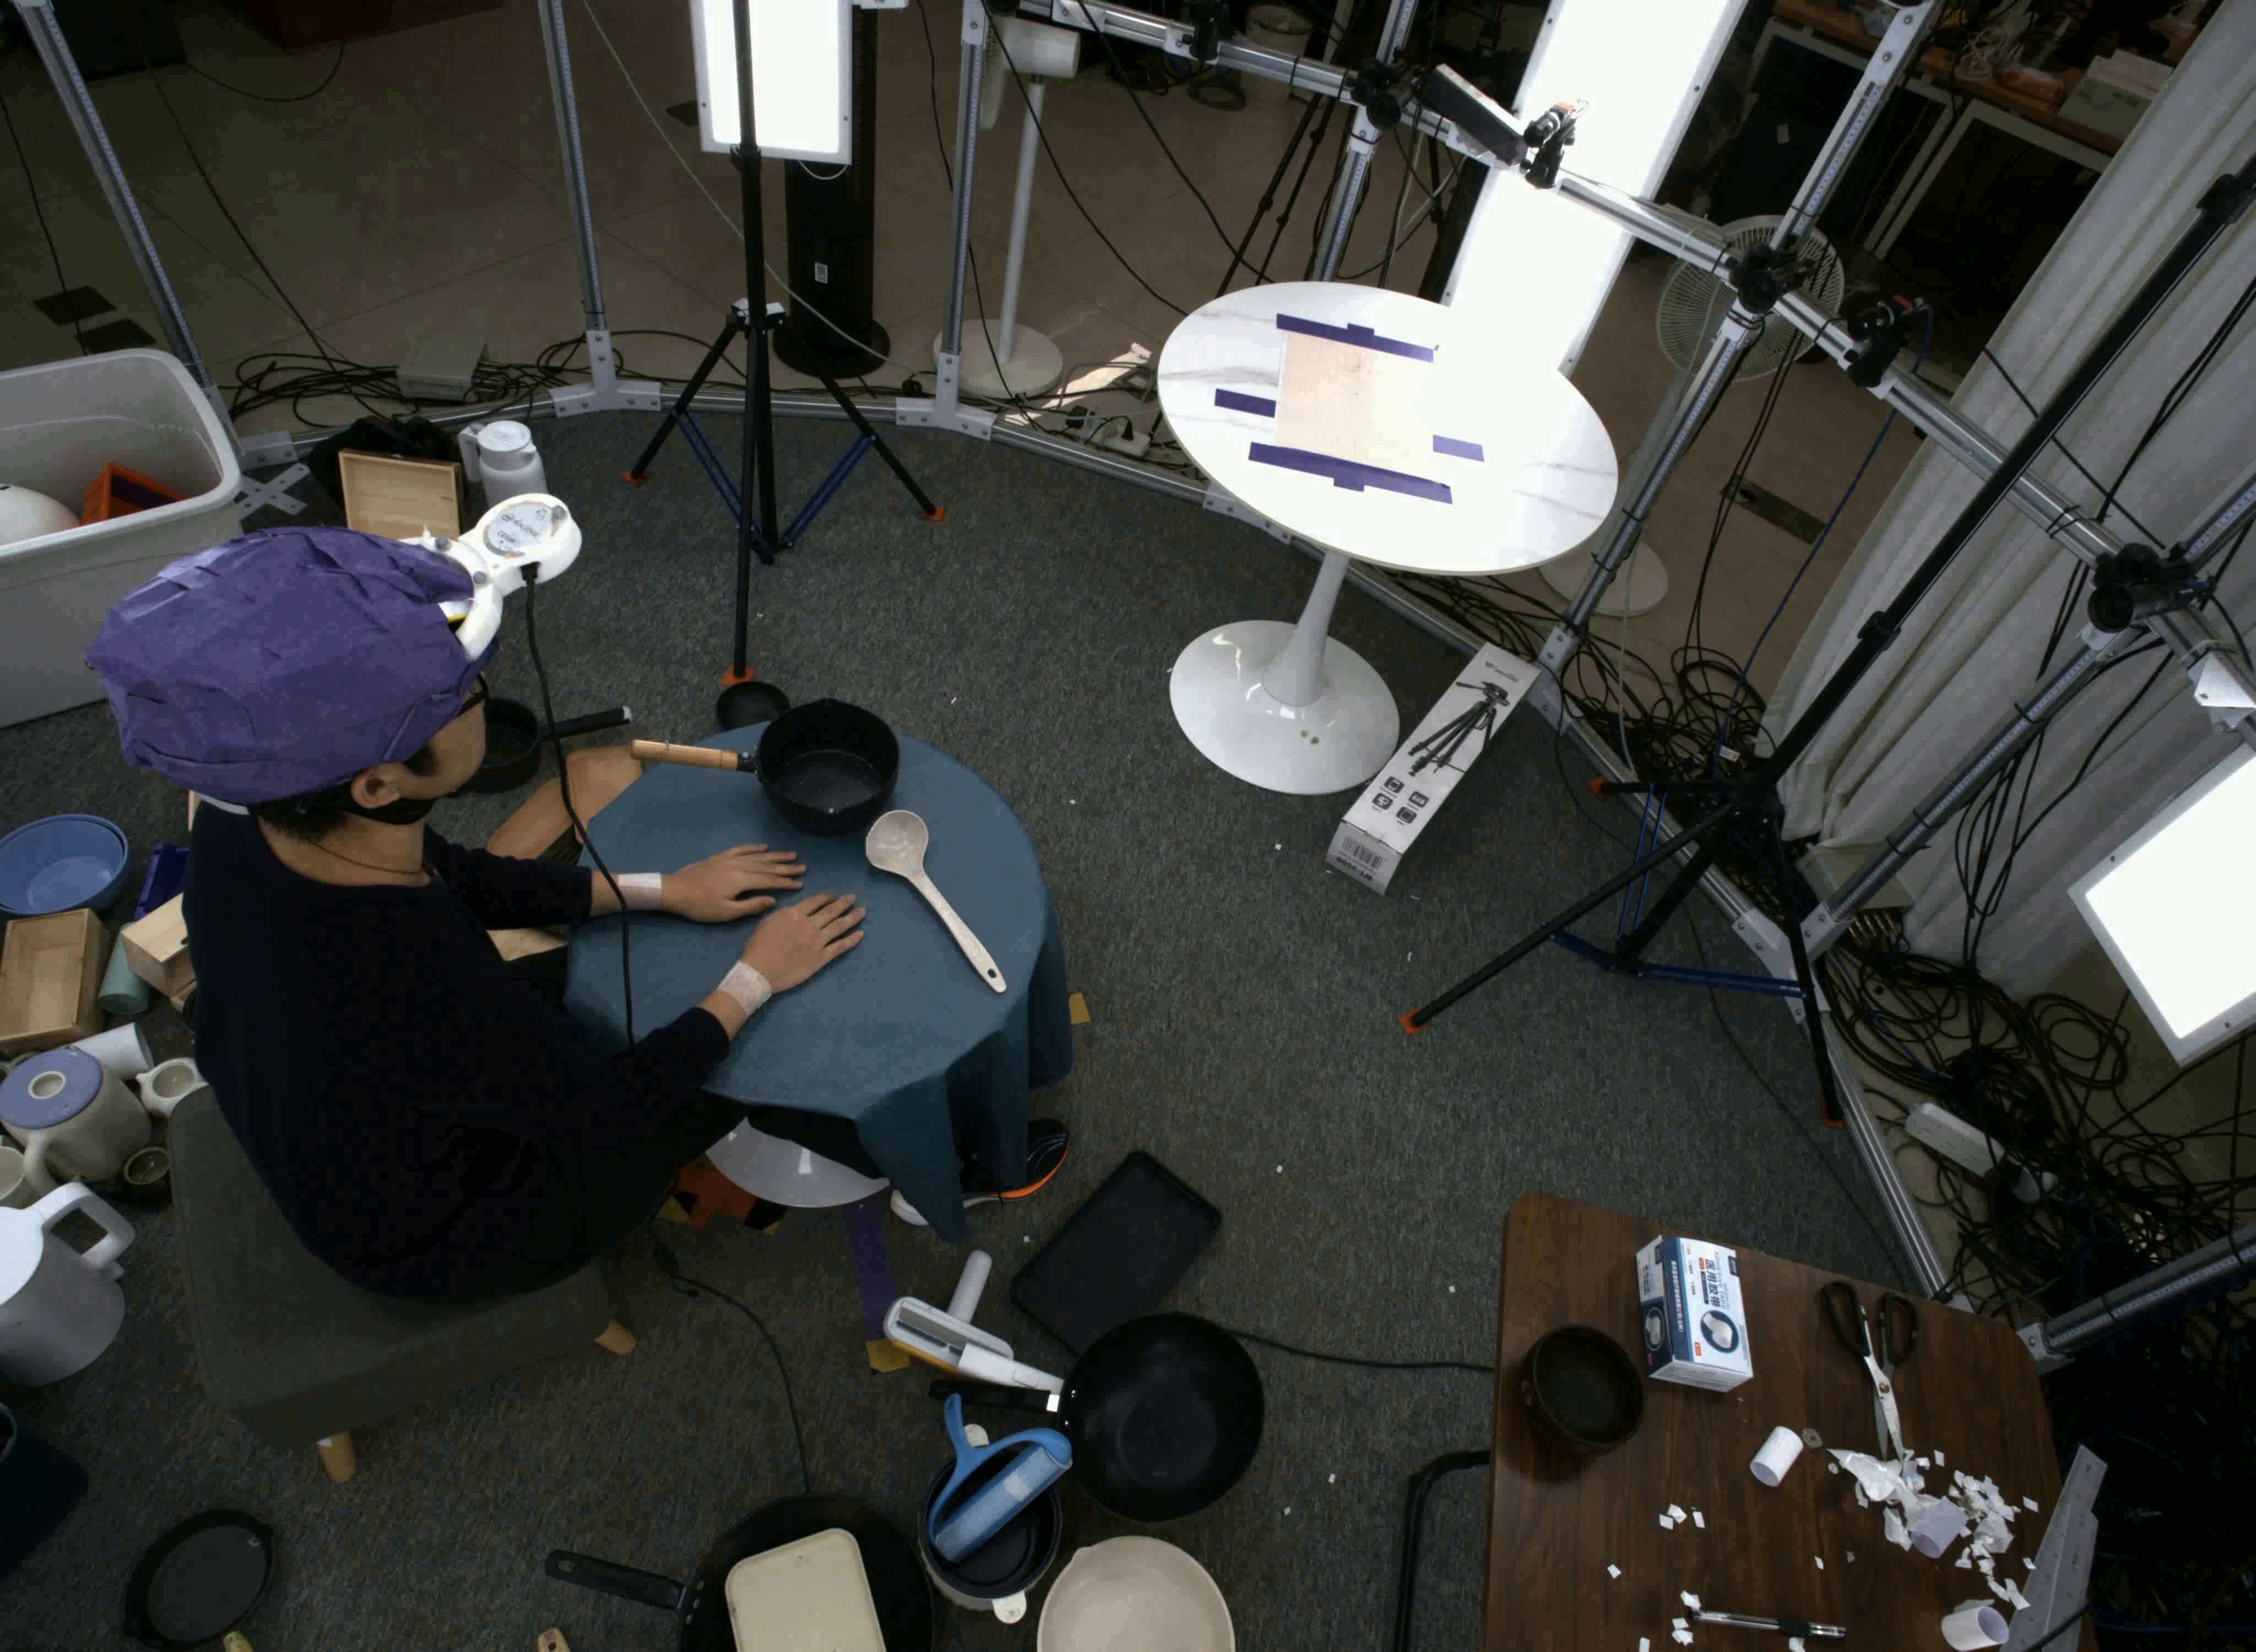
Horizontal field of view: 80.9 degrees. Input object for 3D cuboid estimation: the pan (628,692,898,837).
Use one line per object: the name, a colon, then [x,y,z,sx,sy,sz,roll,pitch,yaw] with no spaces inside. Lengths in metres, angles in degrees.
pan: [-0.473,-0.076,1.687,0.344,0.110,0.203,-2,55,-18]

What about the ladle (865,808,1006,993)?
ladle: [-0.235,0.091,1.651,0.090,0.070,0.268,-27,64,-35]
